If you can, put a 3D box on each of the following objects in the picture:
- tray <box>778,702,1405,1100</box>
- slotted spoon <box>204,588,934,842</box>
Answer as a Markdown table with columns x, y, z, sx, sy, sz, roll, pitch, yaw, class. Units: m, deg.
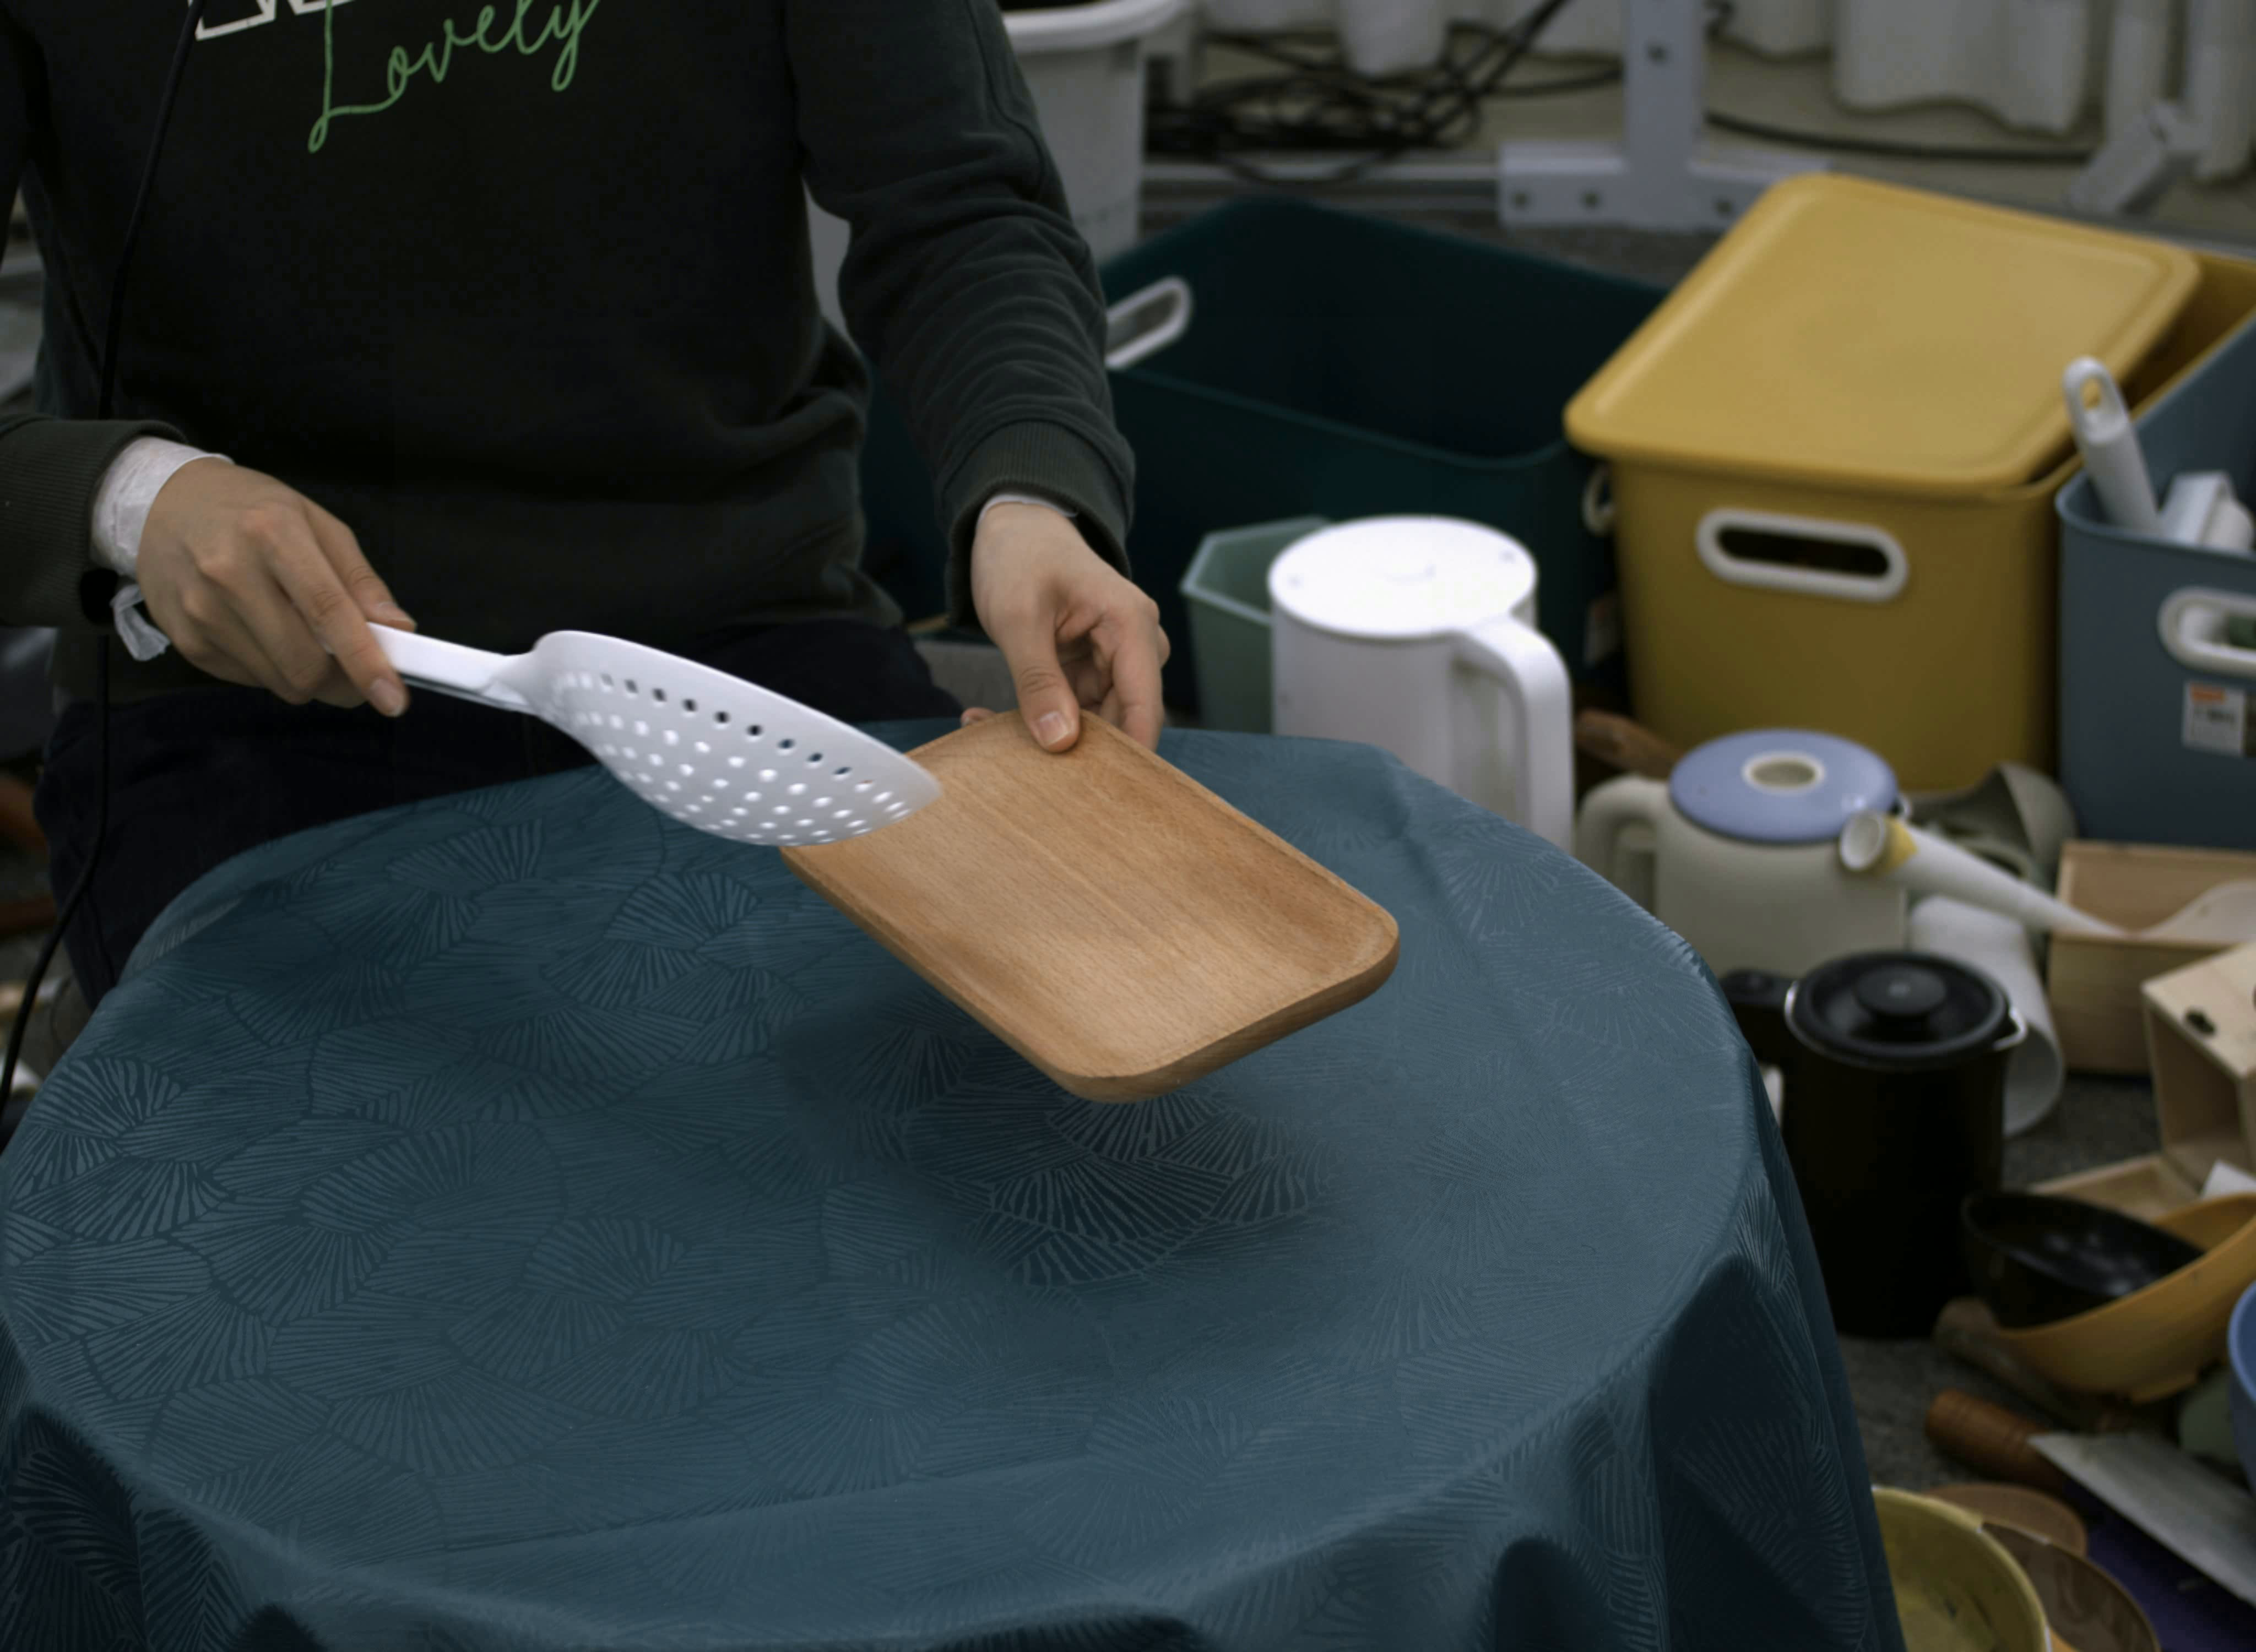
| x | y | z | sx | sy | sz | roll | pitch | yaw | class |
| --- | --- | --- | --- | --- | --- | --- | --- | --- | --- |
| -0.015 | 0.023 | 1.879 | 0.131 | 0.022 | 0.251 | -22 | 29 | -22 | tray |
| -0.202 | -0.048 | 1.888 | 0.349 | 0.046 | 0.135 | 19 | -10 | 46 | slotted spoon |
